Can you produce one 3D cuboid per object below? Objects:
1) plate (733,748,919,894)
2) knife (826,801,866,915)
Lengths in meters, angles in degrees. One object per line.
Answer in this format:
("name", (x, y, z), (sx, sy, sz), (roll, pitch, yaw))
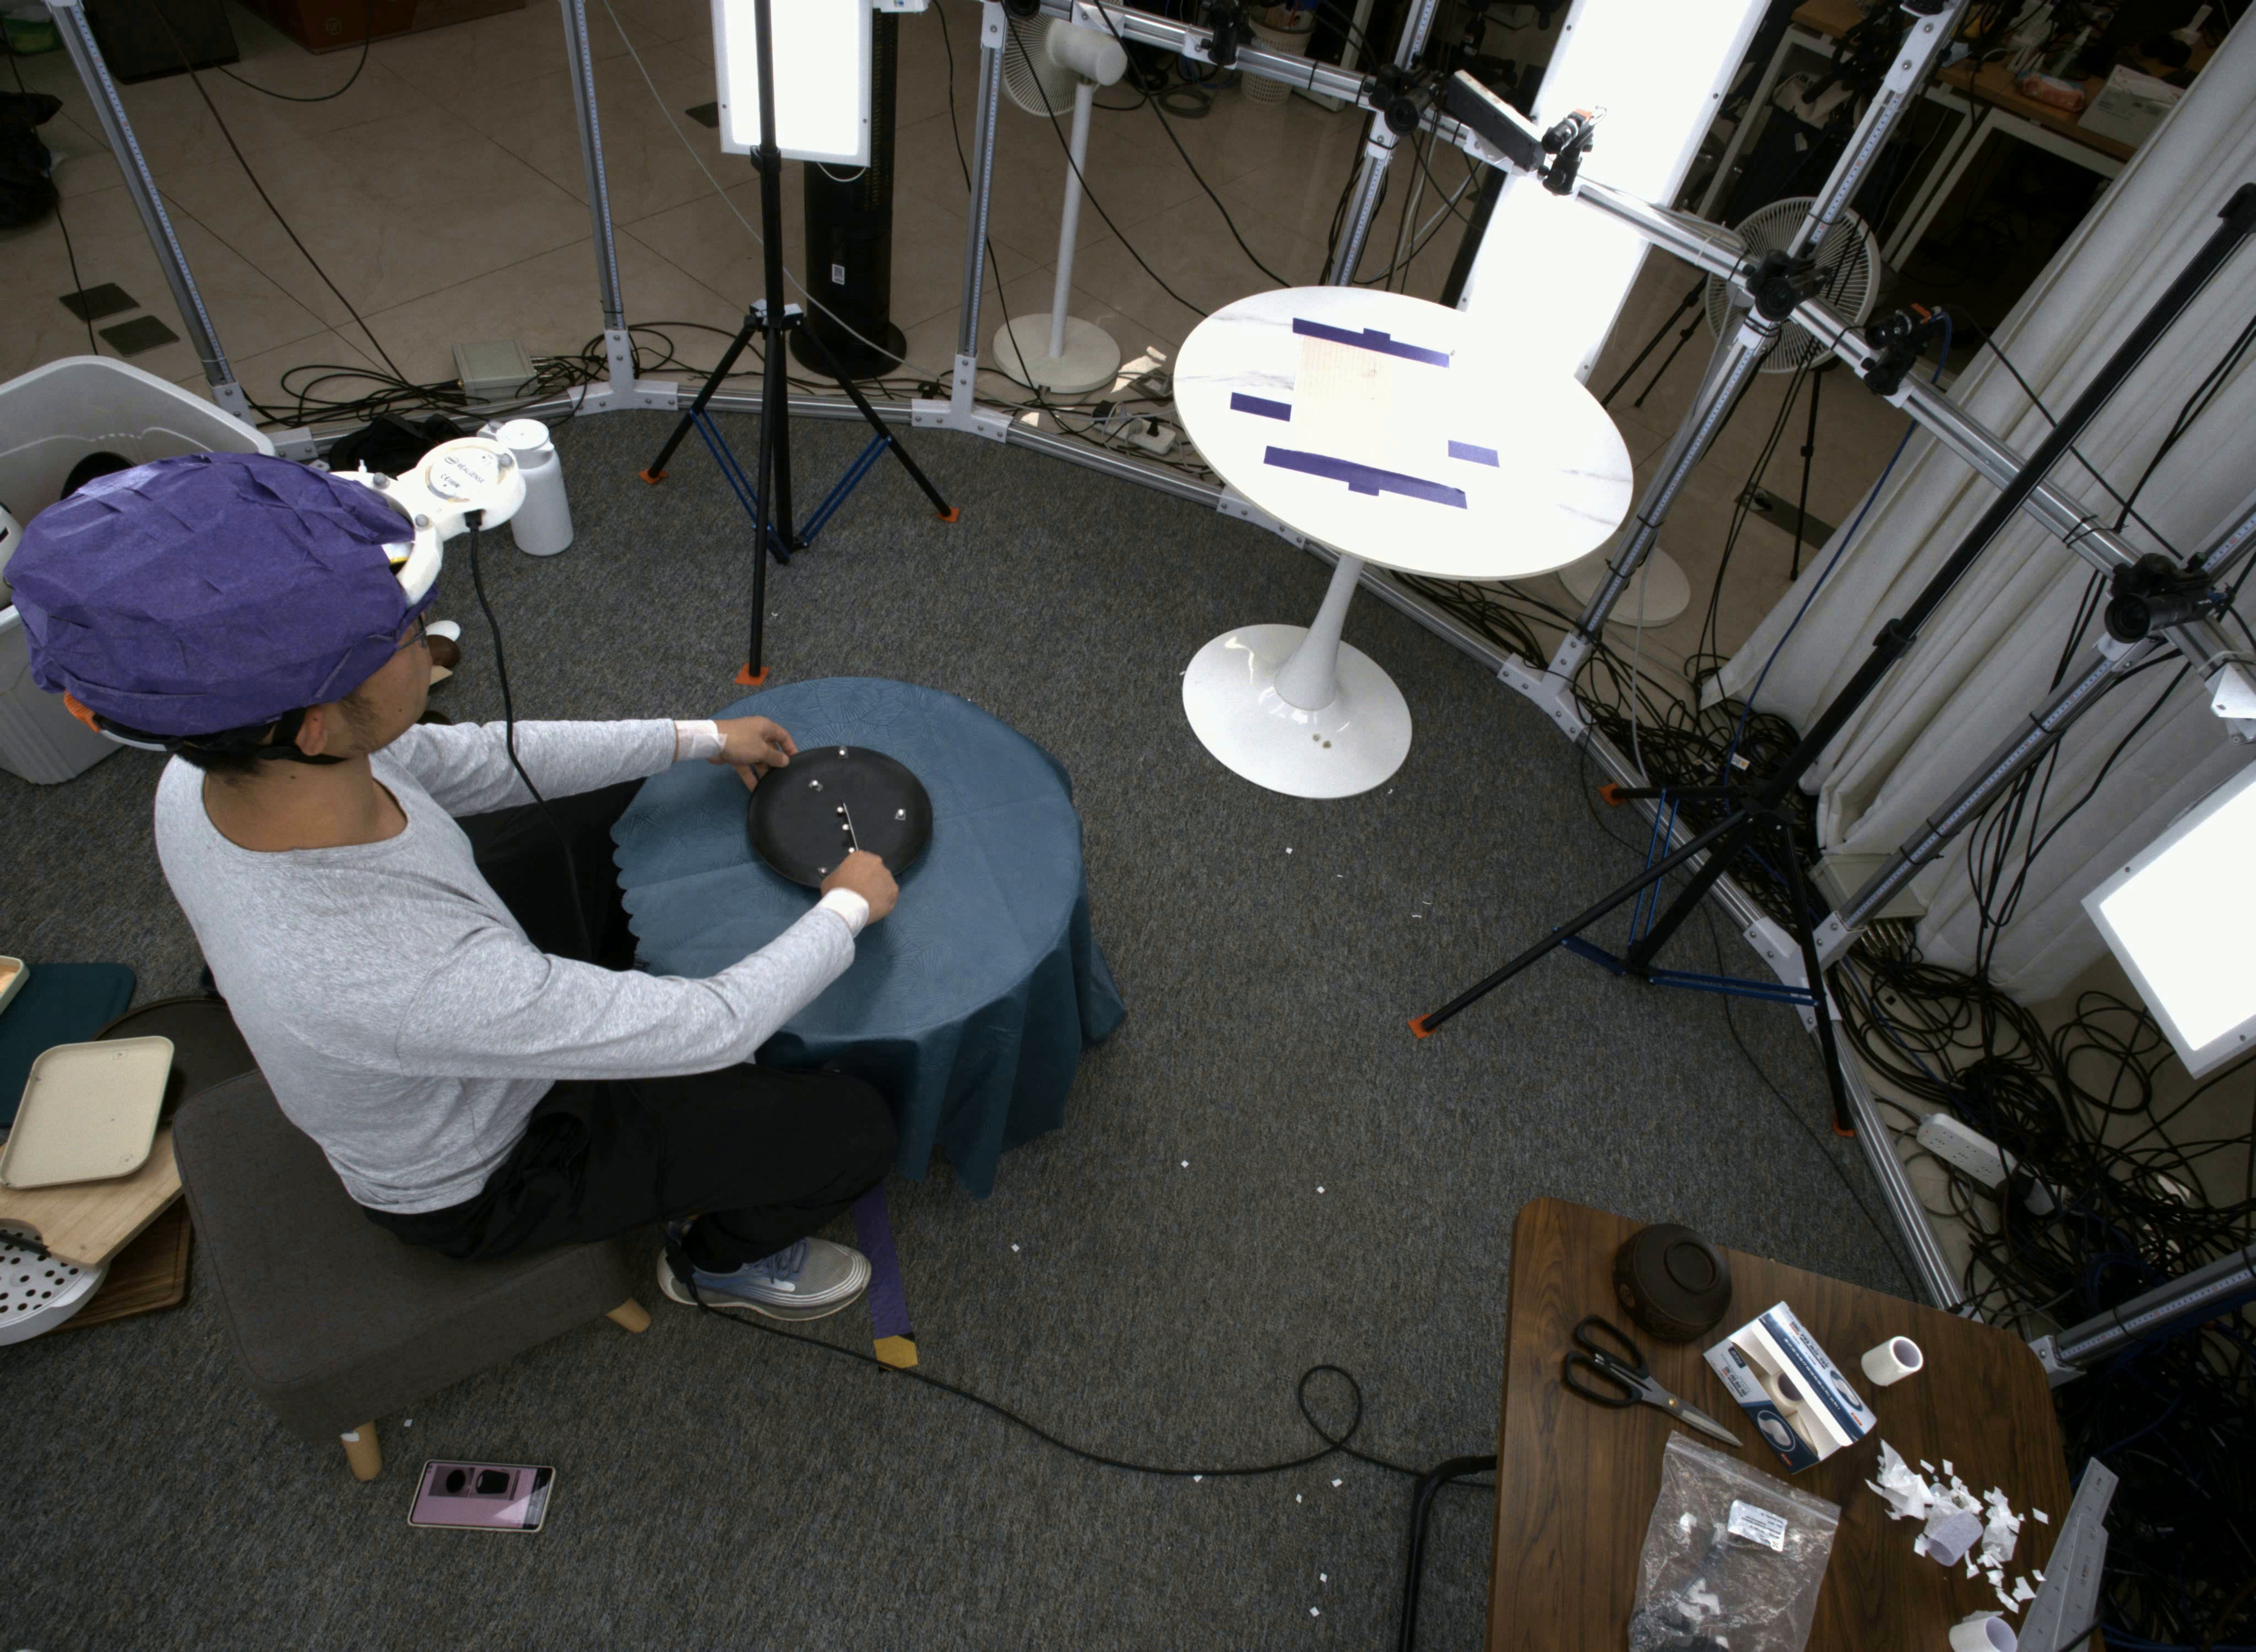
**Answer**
("plate", (-0.402, -0.006, 1.730), (0.244, 0.024, 0.240), (8, 52, -9))
("knife", (-0.368, 0.032, 1.672), (0.016, 0.025, 0.230), (-6, 39, -22))
